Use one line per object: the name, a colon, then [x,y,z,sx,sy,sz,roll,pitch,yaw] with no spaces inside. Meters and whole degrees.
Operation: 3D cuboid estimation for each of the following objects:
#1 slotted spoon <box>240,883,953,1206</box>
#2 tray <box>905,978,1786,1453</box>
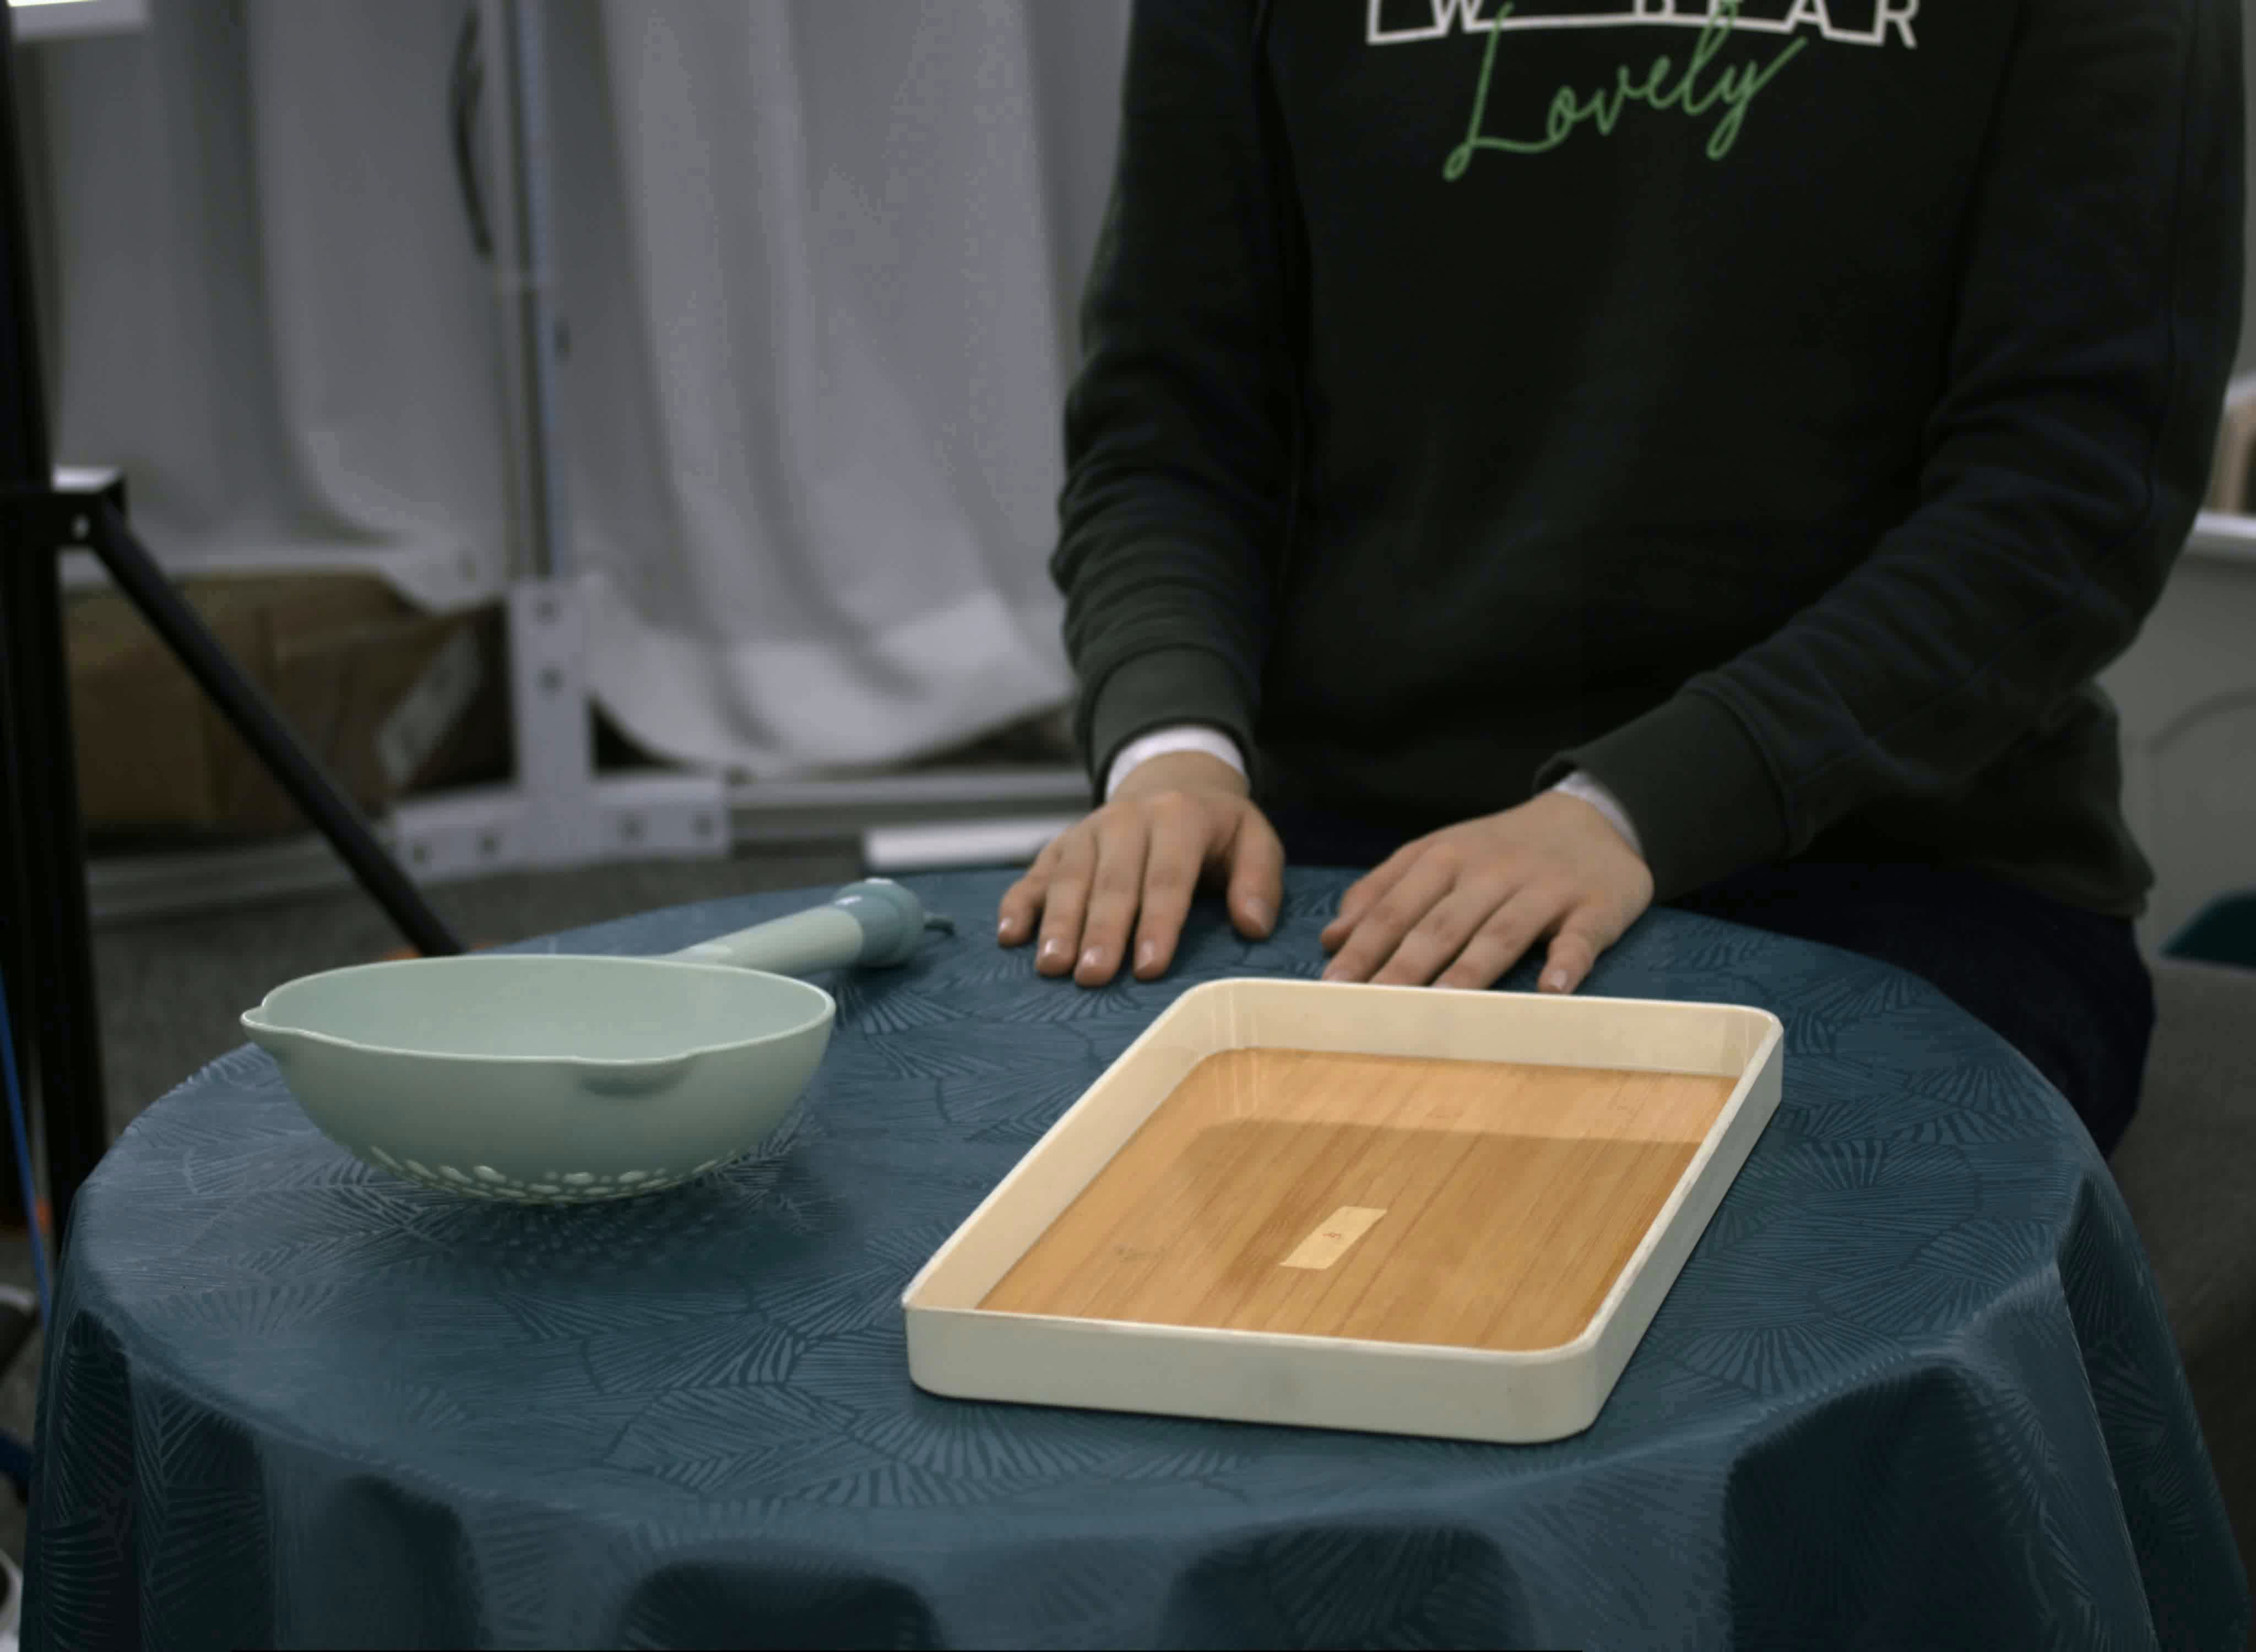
slotted spoon: [-0.134,0.052,1.660,0.171,0.075,0.354,5,17,22]
tray: [0.070,0.105,1.510,0.193,0.027,0.297,3,17,18]
